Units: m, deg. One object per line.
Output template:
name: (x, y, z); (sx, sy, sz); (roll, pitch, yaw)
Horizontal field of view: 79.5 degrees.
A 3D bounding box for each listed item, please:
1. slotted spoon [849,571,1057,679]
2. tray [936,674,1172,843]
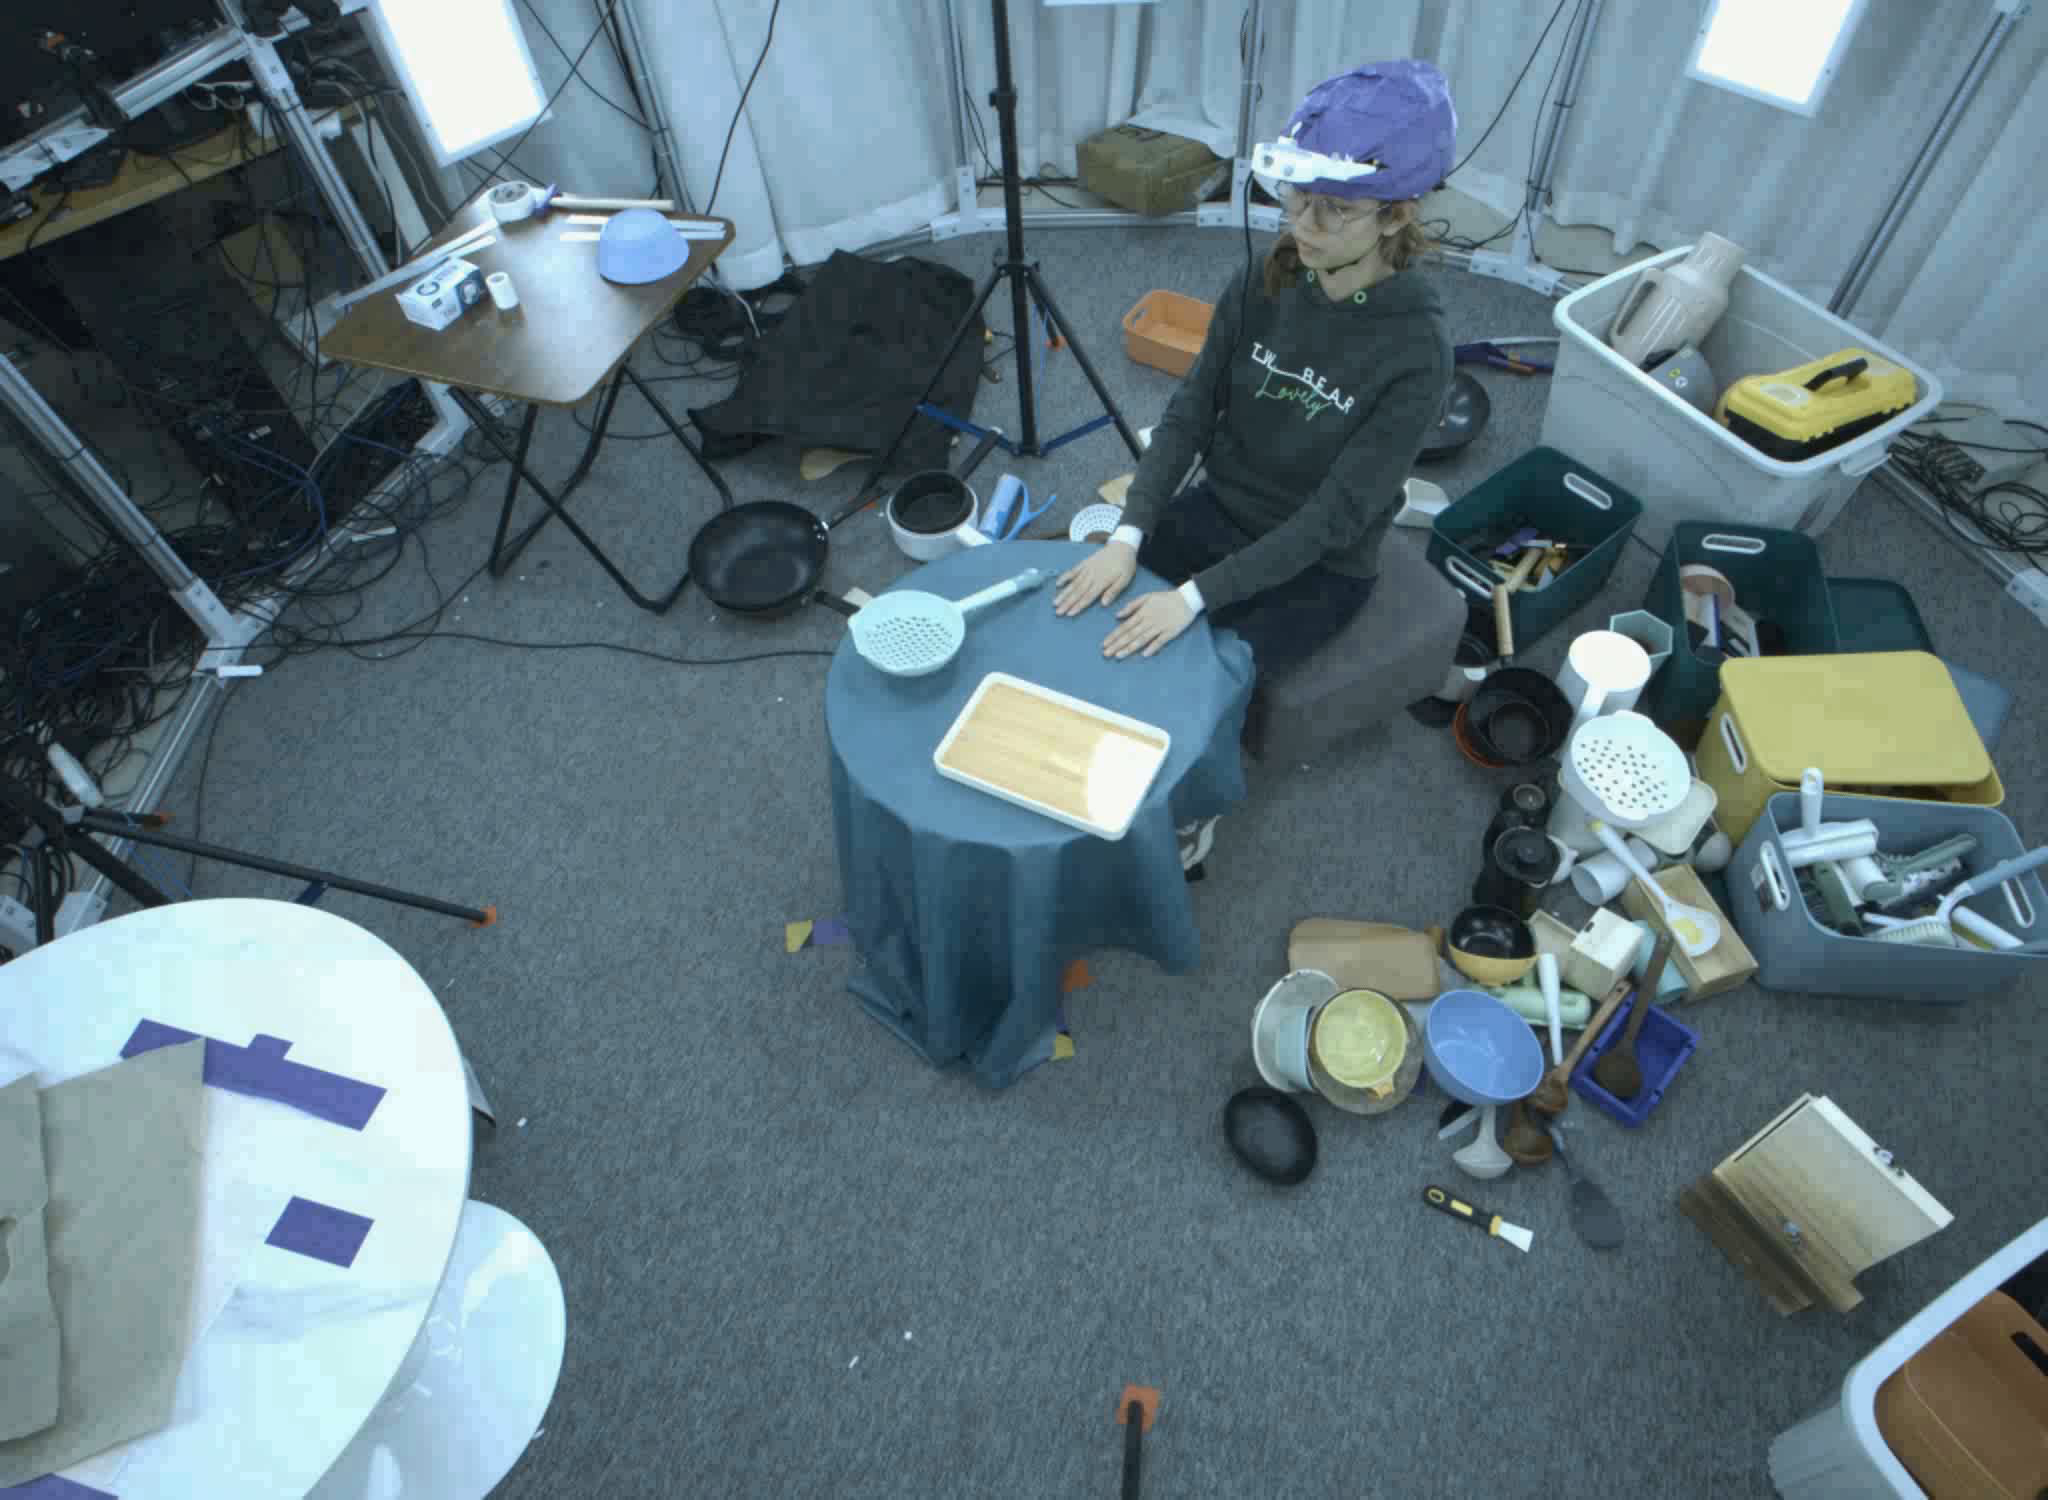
slotted spoon: (-0.096, -0.213, 1.911); (0.362, 0.076, 0.166); (-32, 60, -19)
tray: (0.044, 0.008, 1.775); (0.297, 0.028, 0.192); (21, 58, 15)
